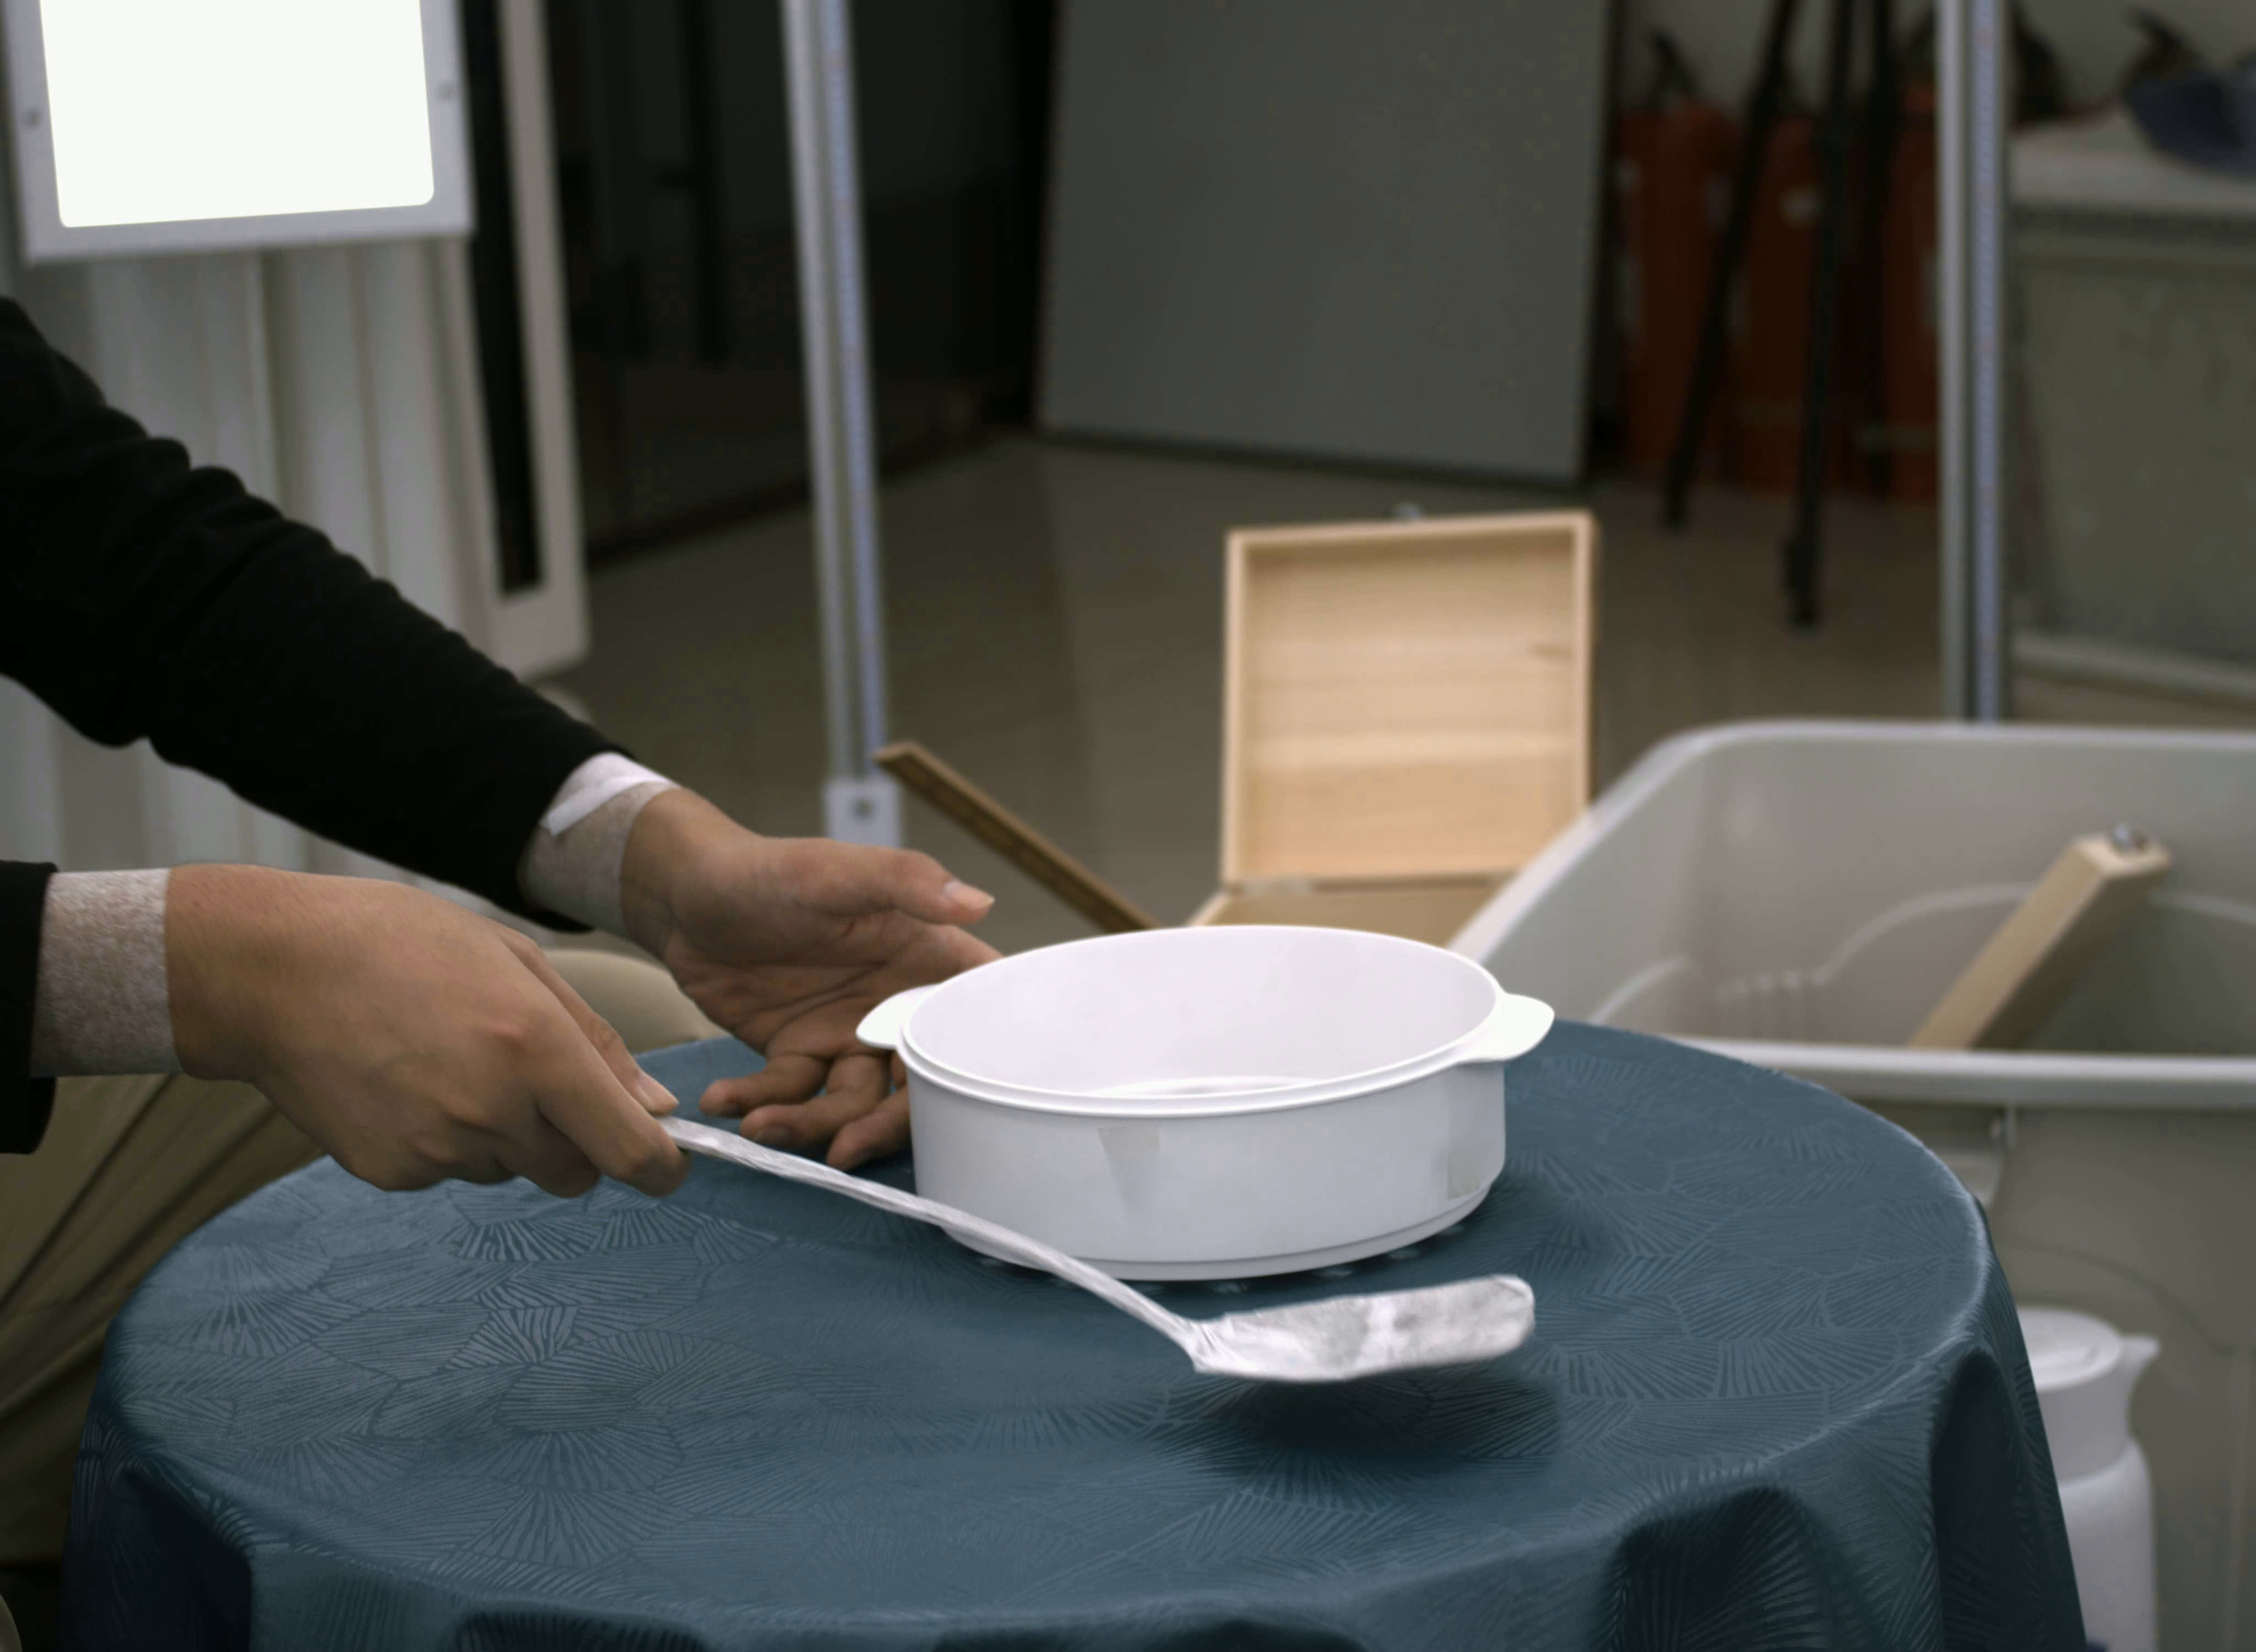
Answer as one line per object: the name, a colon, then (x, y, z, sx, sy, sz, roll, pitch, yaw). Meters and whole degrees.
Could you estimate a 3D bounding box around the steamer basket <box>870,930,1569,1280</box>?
steamer basket: (0.031, 0.089, 1.743, 0.230, 0.070, 0.200, -1, 13, 18)

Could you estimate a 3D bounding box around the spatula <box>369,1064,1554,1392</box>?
spatula: (-0.055, 0.110, 1.576, 0.363, 0.045, 0.098, 17, 14, 11)
